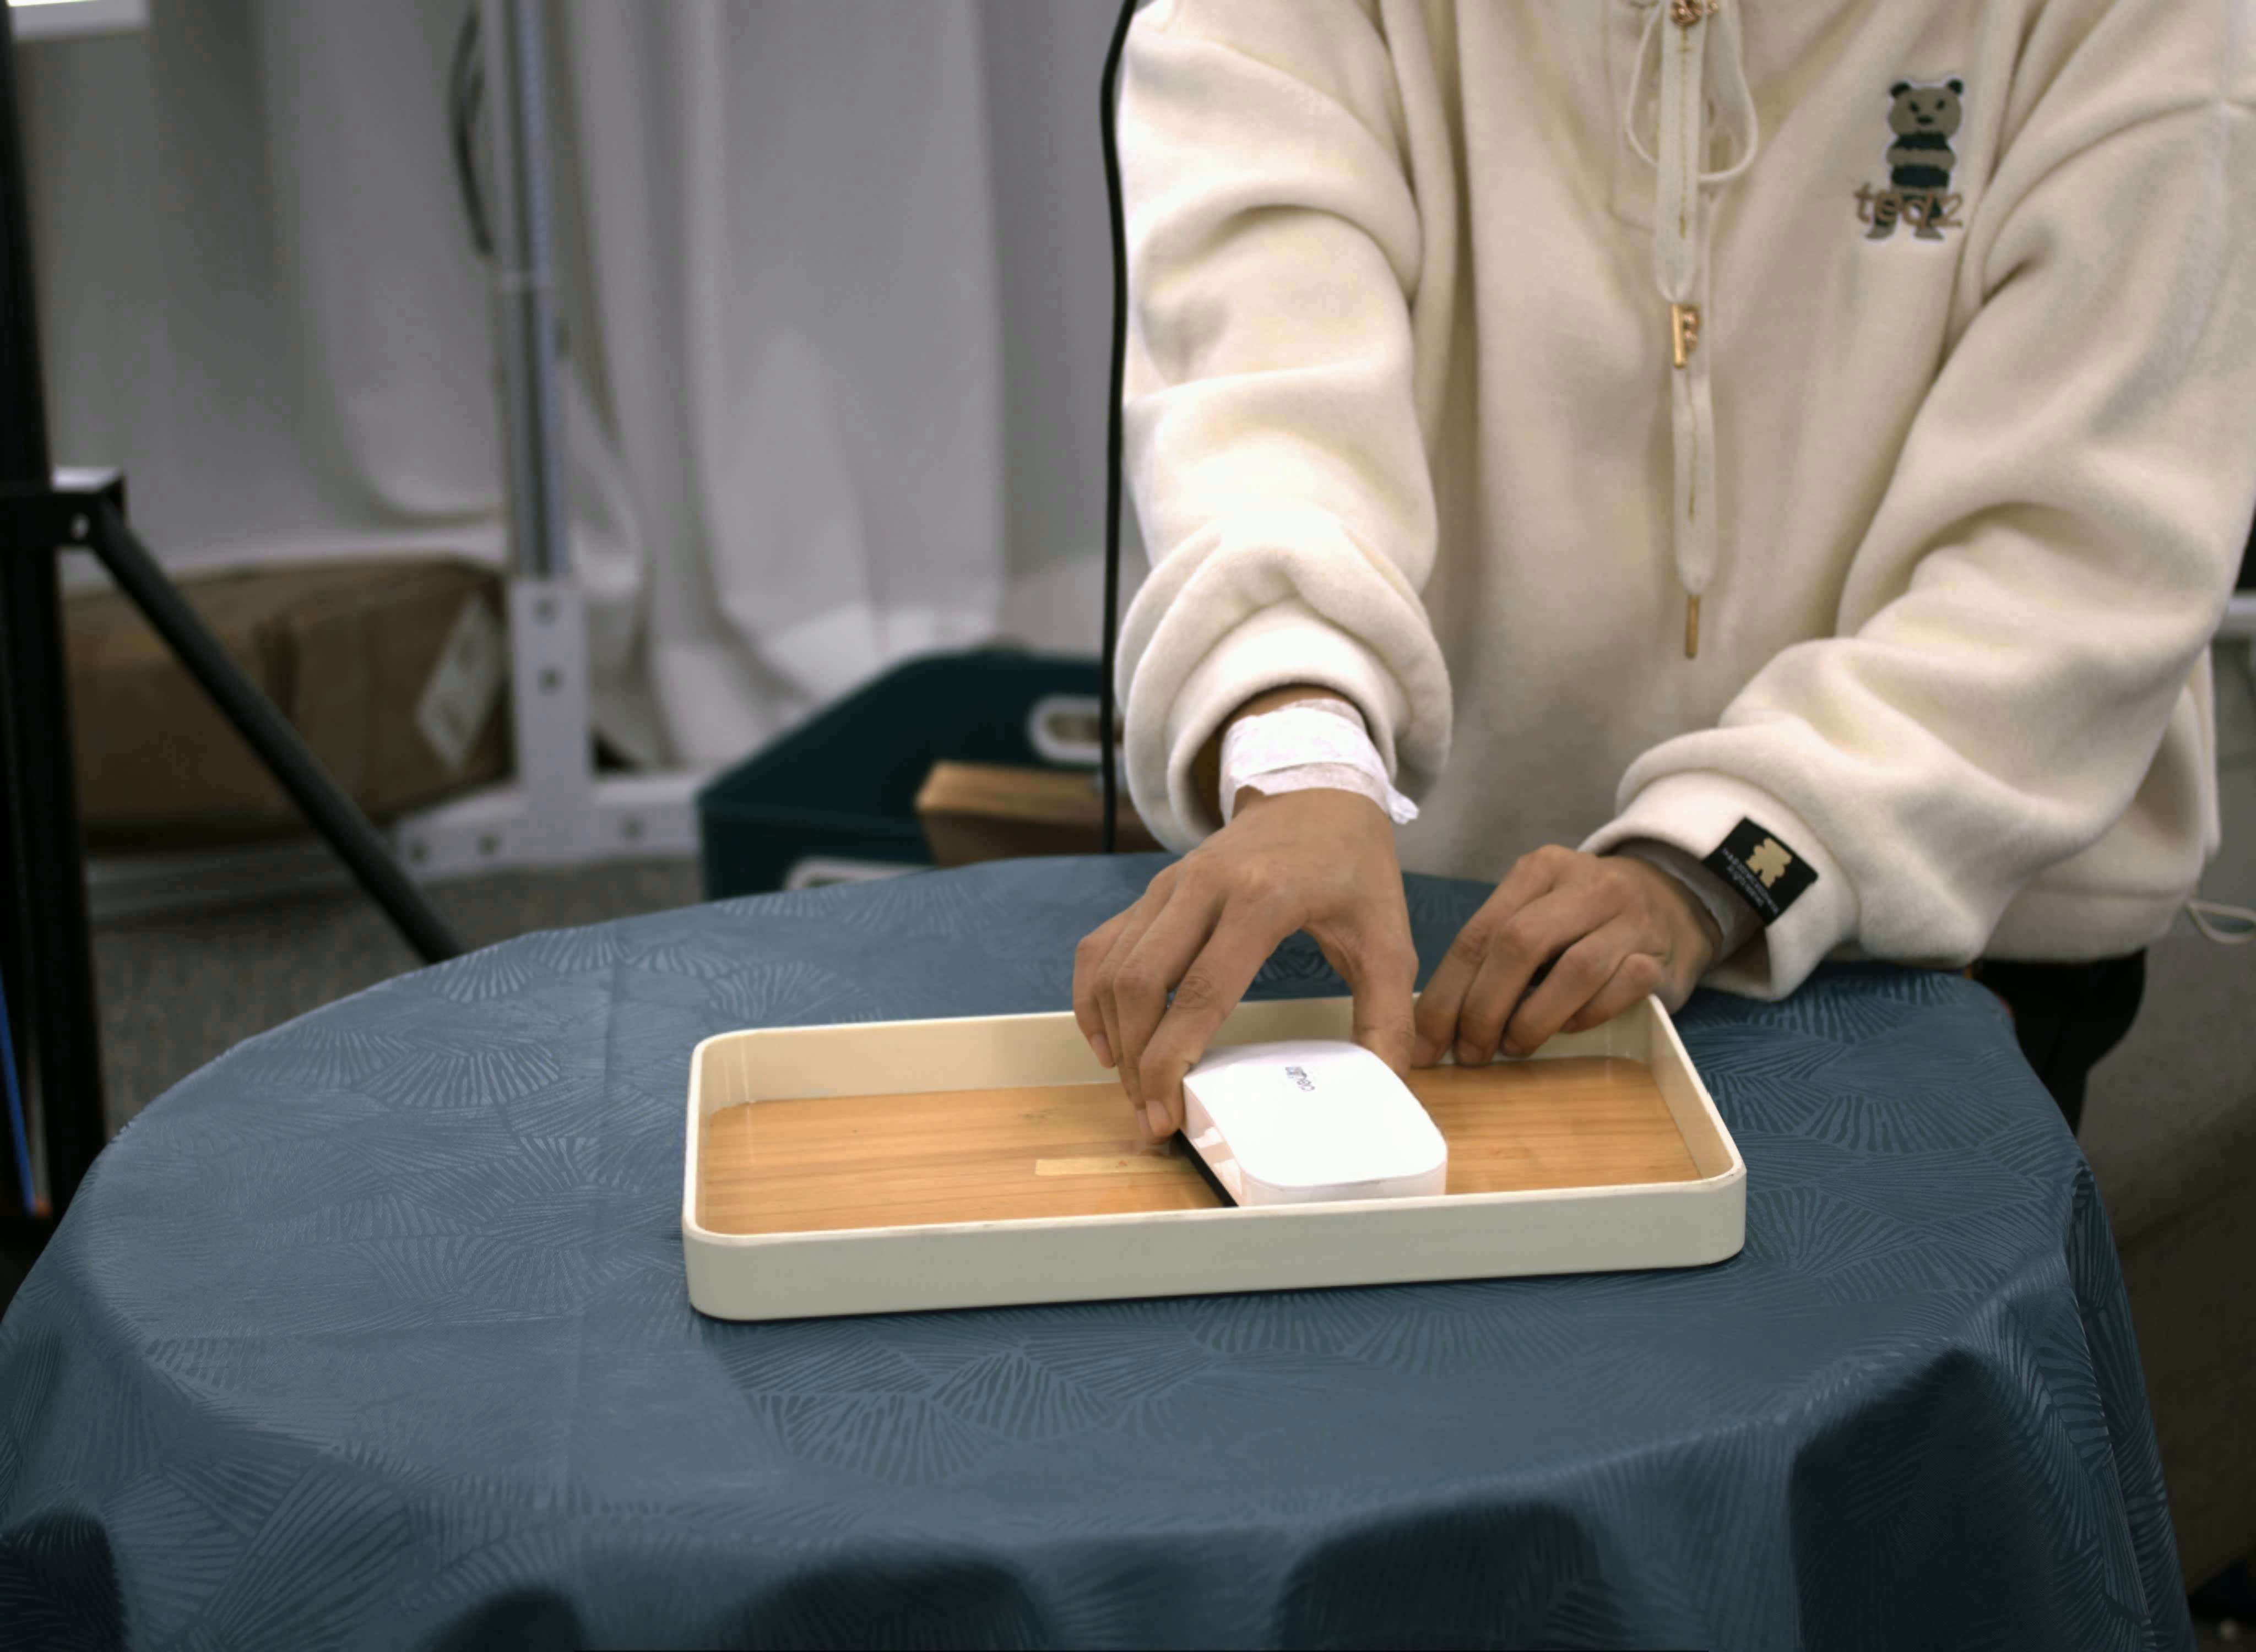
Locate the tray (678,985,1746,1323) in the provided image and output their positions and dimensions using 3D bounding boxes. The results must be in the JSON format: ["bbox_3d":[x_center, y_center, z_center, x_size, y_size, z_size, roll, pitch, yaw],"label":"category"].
[{"bbox_3d":[0.020,0.094,1.554,0.299,0.027,0.192,-3,16,-1],"label":"tray"}]

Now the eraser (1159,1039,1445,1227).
[{"bbox_3d":[0.051,0.089,1.537,0.062,0.034,0.133,-5,16,-10],"label":"eraser"}]
